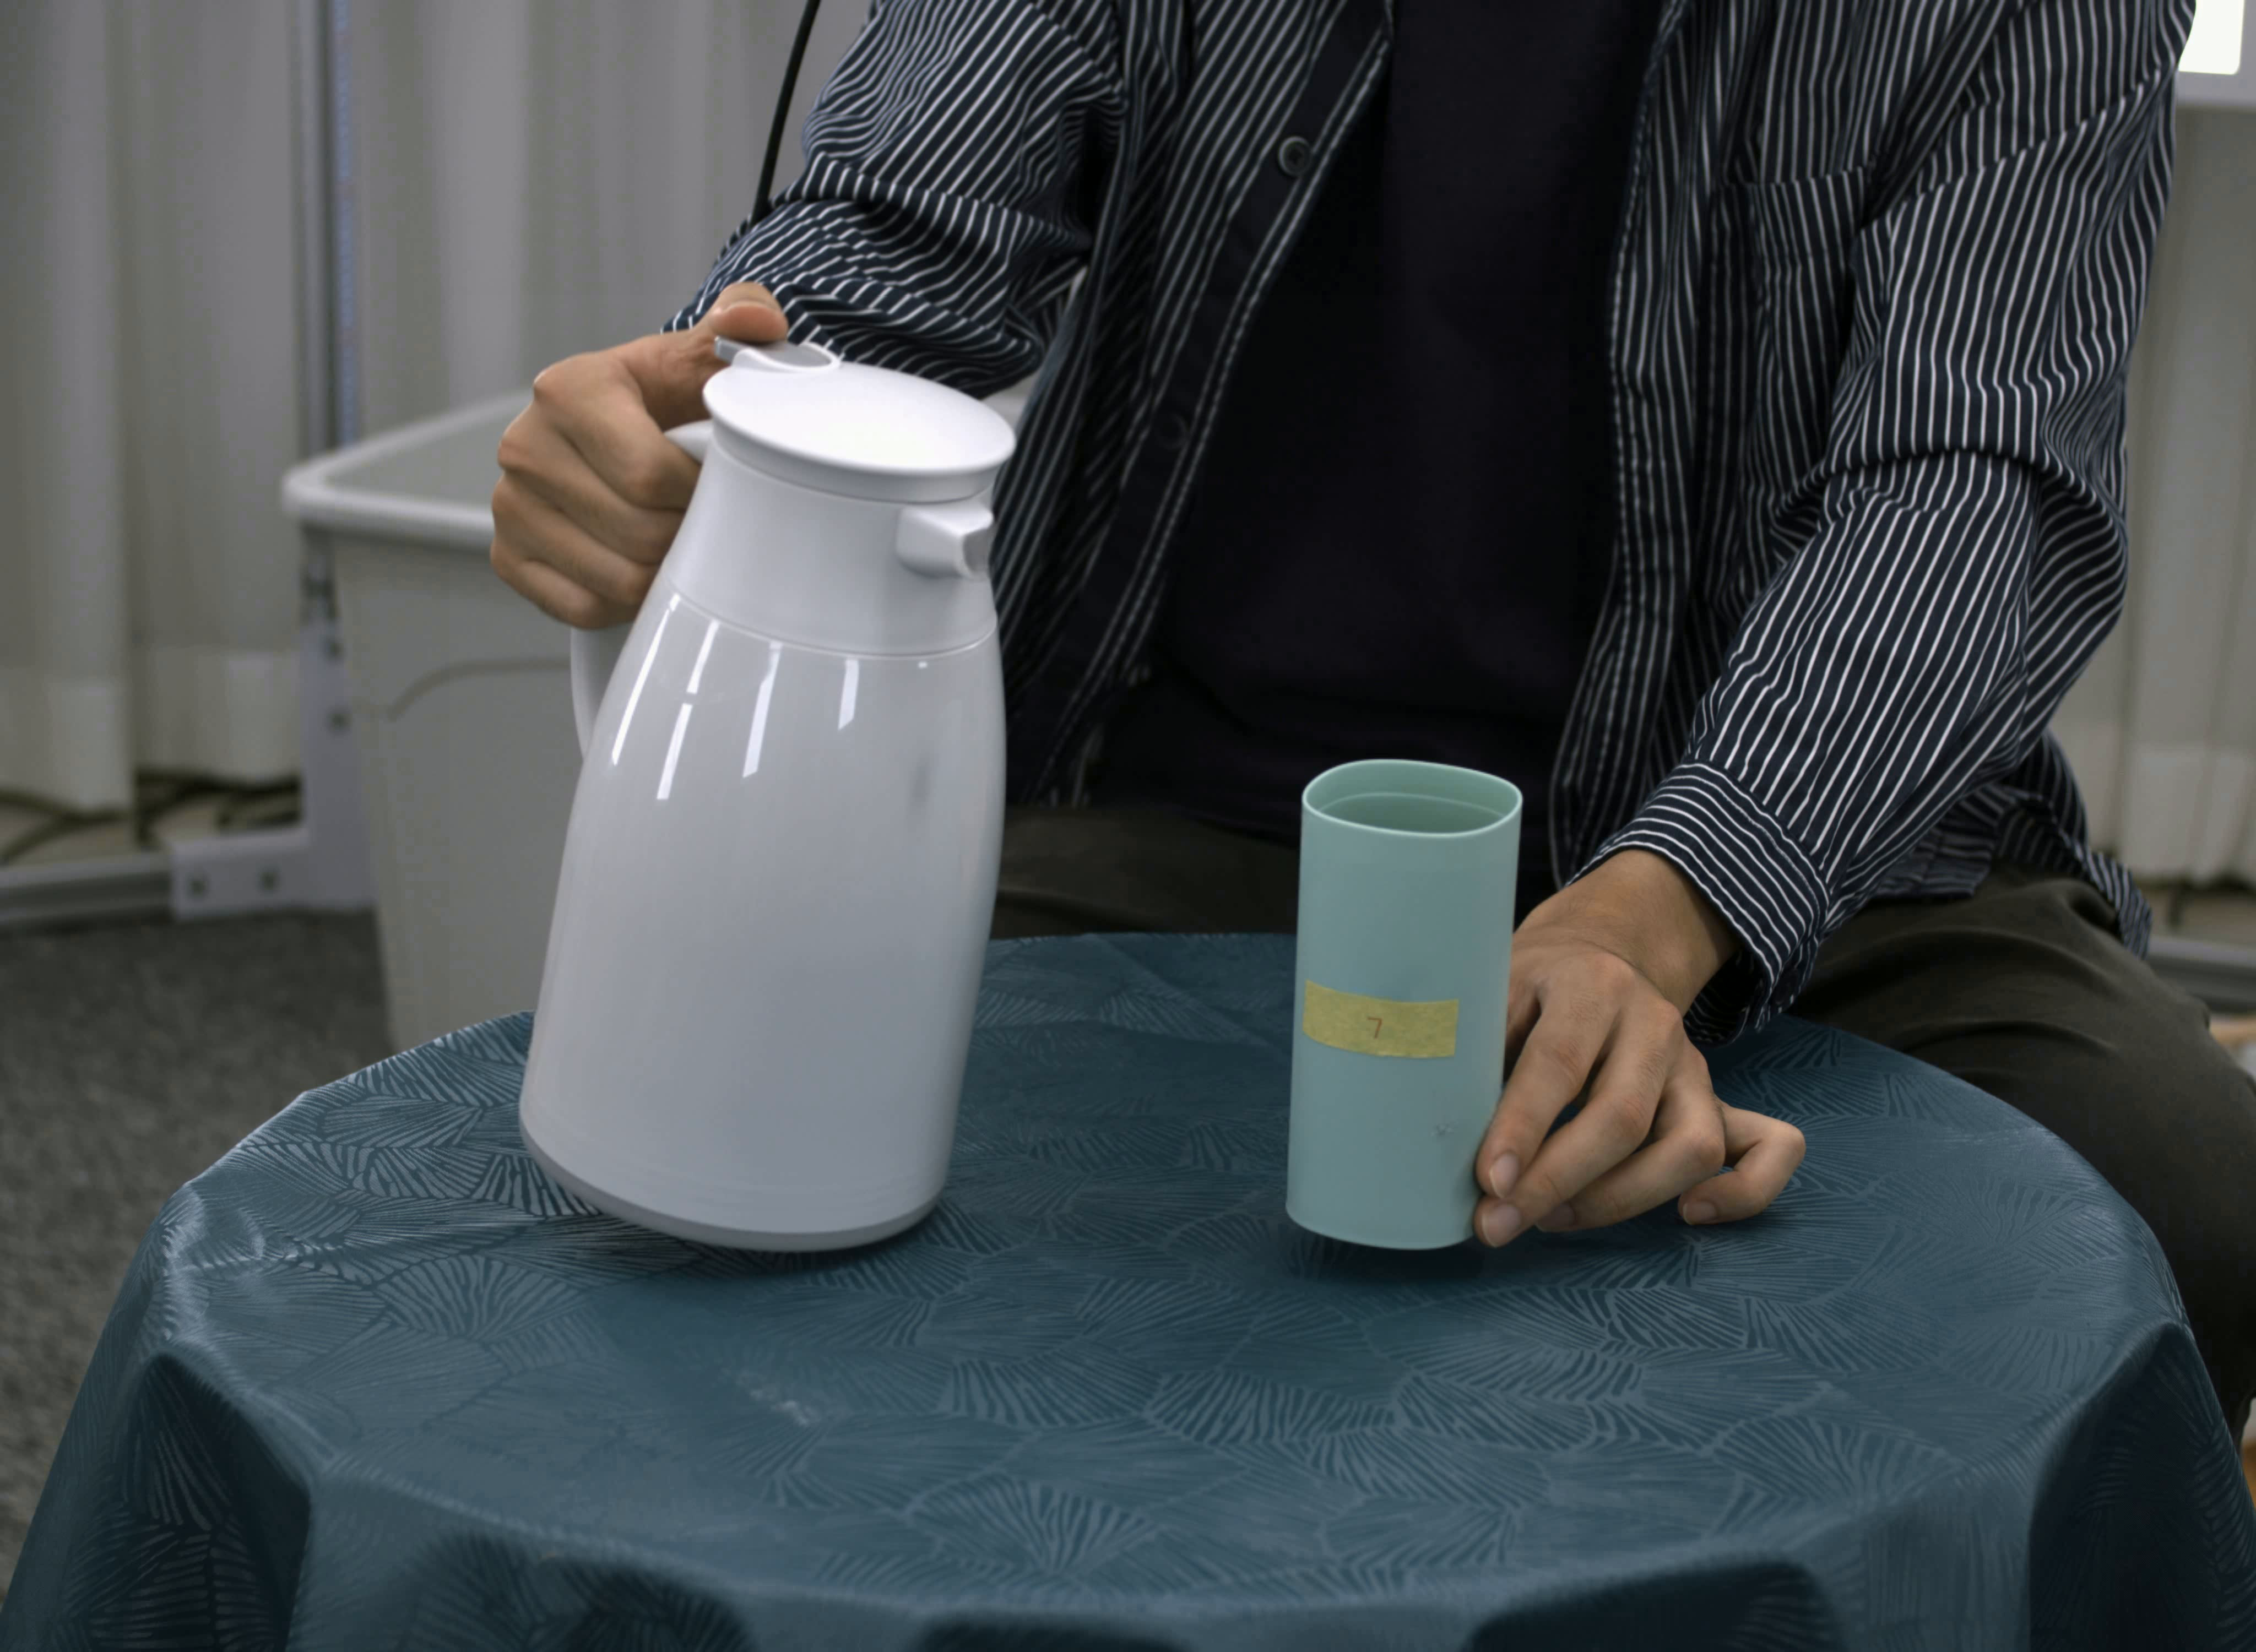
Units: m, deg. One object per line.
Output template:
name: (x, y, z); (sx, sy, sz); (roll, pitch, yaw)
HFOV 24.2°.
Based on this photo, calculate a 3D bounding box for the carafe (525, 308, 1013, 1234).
carafe: (-0.112, -0.025, 1.567); (0.165, 0.250, 0.133); (28, 28, 38)

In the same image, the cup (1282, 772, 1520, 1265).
cup: (0.080, 0.056, 1.551); (0.066, 0.133, 0.066); (2, 20, 0)
